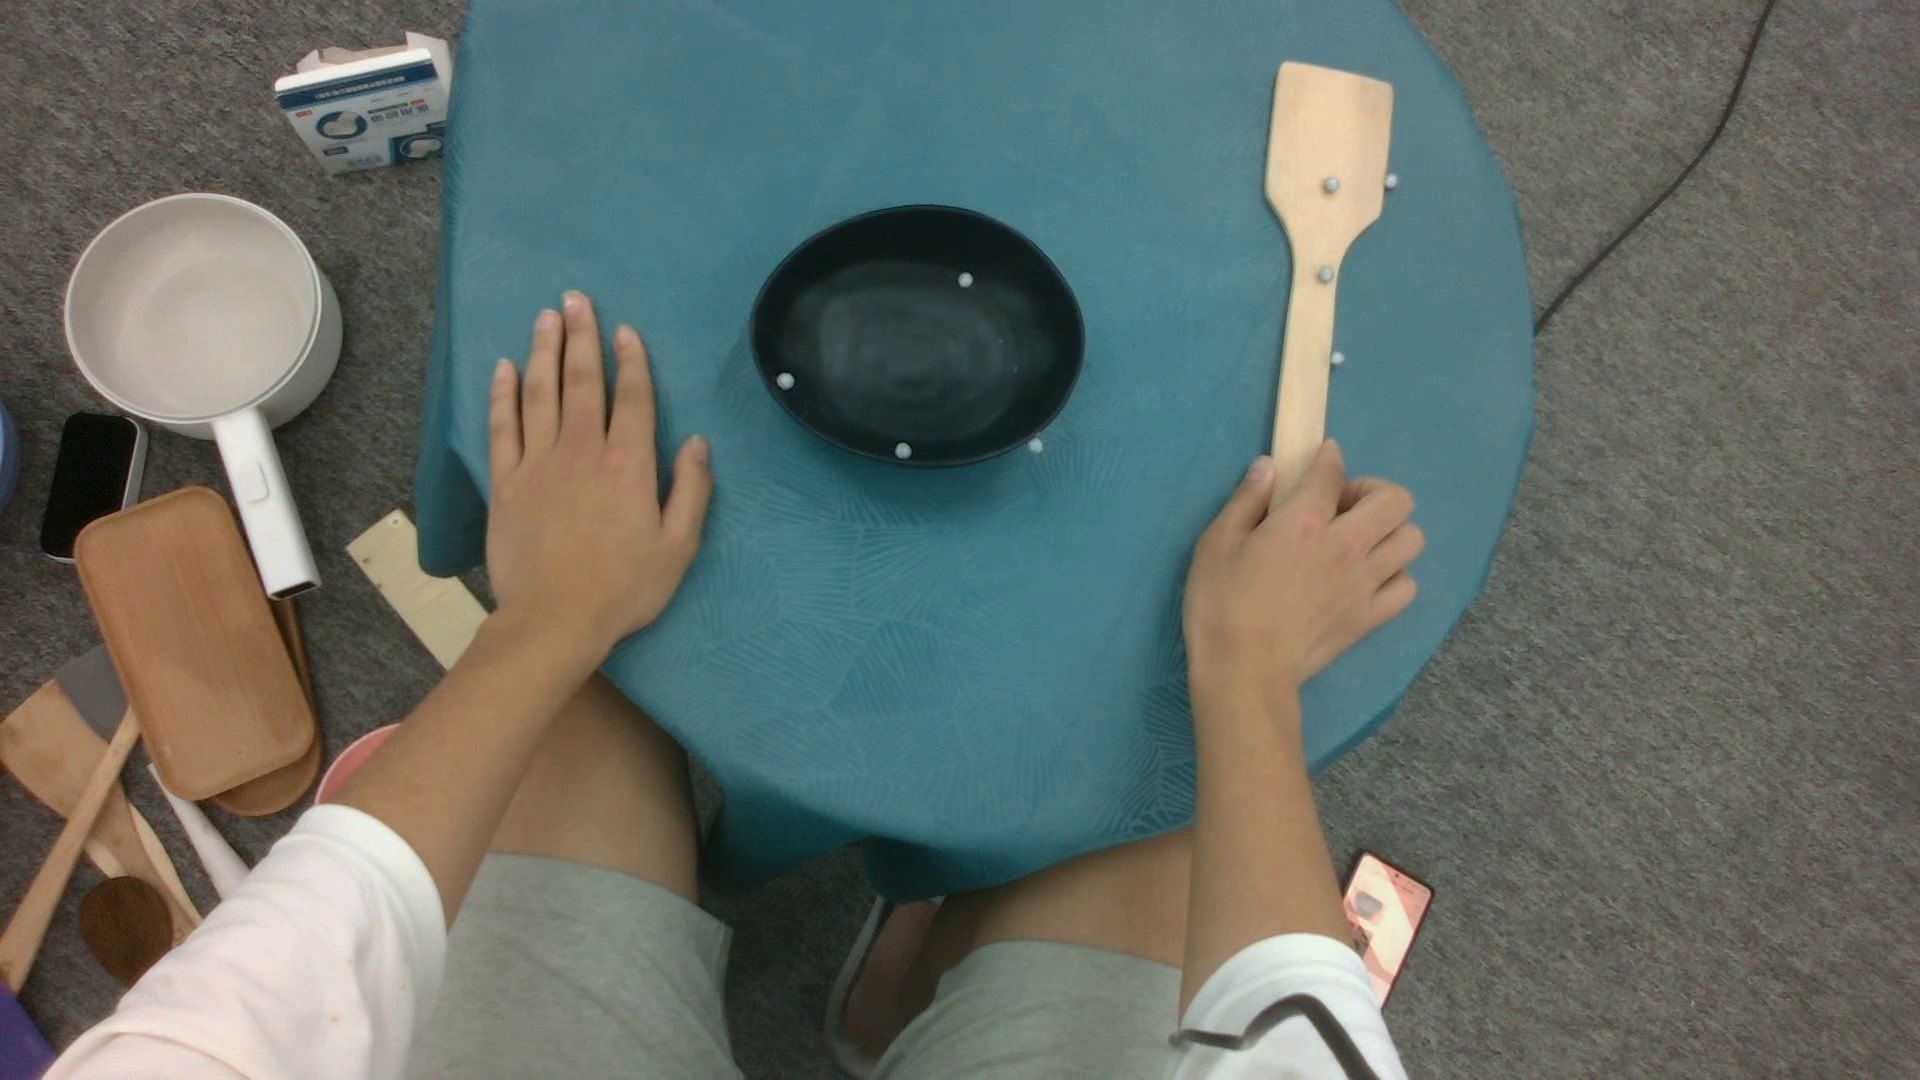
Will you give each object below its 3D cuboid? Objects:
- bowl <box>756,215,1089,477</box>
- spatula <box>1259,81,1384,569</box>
[{"bbox_3d":[-0.020,-0.094,0.725,0.170,0.066,0.137,-1,79,-5],"label":"bowl"},{"bbox_3d":[0.198,-0.125,0.783,0.072,0.010,0.293,10,76,-6],"label":"spatula"}]
